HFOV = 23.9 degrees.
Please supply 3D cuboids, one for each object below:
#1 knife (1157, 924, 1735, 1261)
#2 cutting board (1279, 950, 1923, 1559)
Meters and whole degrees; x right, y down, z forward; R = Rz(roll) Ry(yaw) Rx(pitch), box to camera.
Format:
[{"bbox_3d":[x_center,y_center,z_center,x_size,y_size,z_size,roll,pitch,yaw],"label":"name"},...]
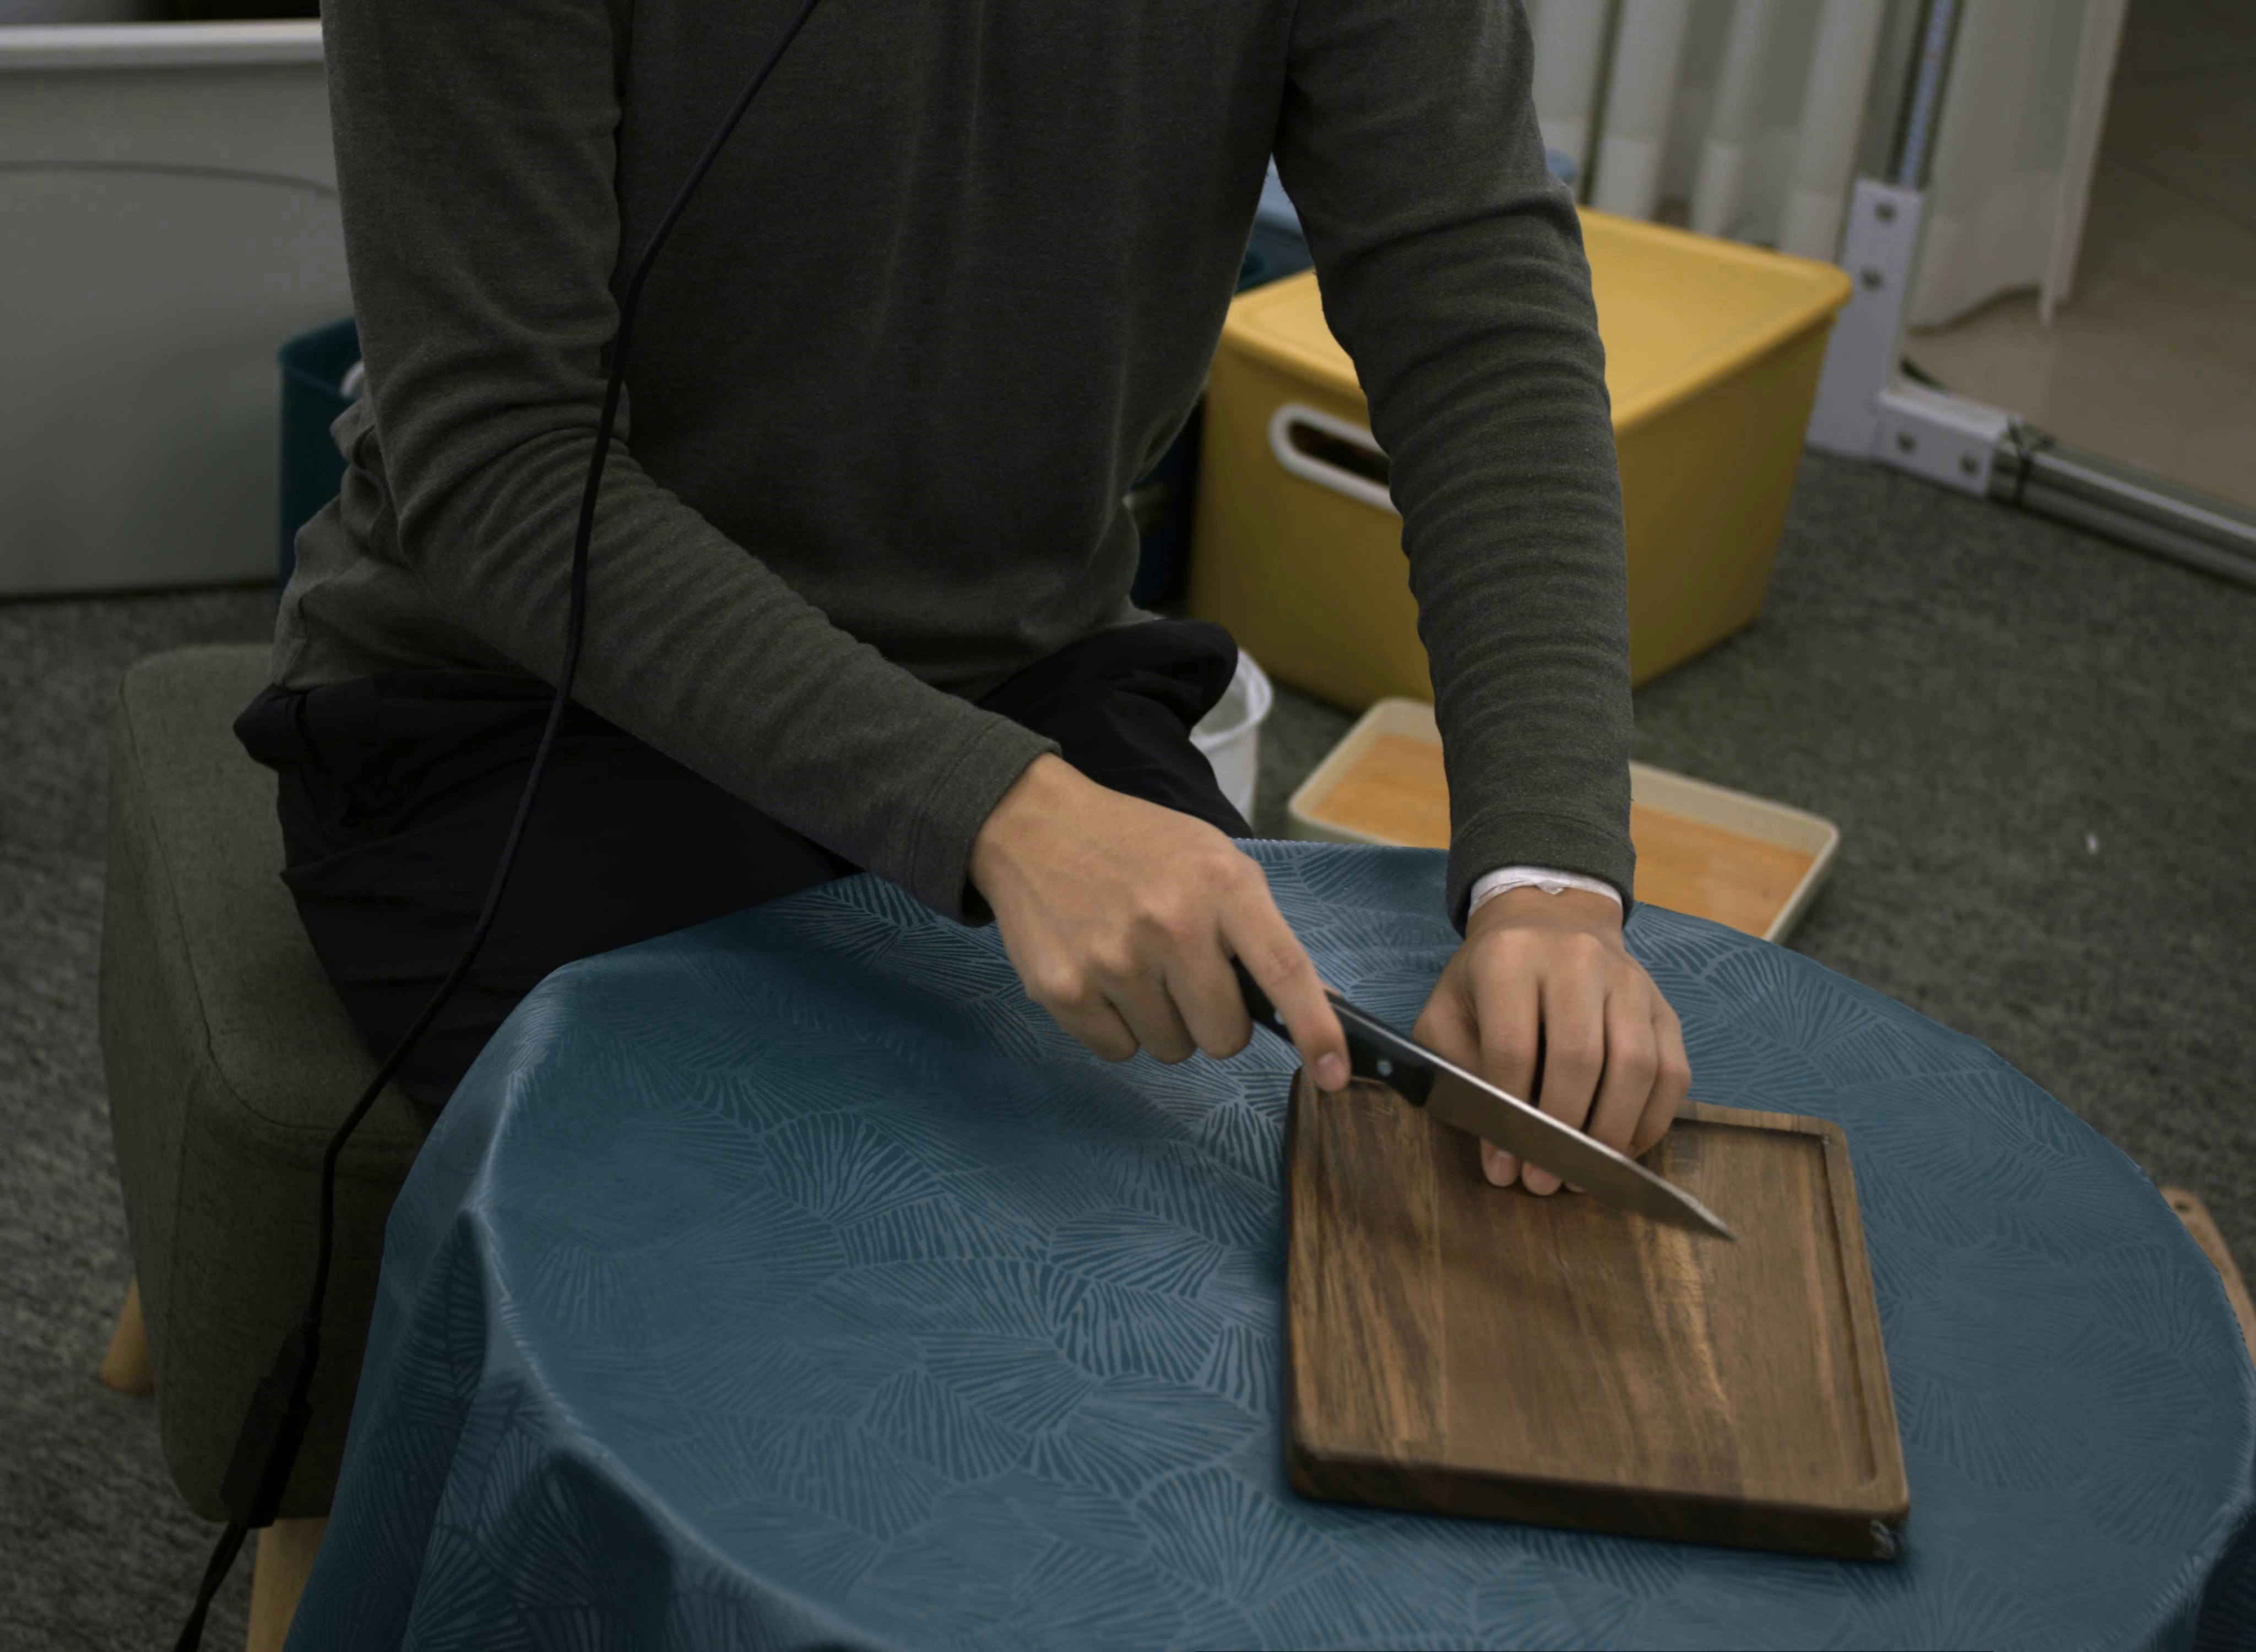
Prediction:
[{"bbox_3d":[0.105,0.088,1.775,0.240,0.024,0.016,28,41,29],"label":"knife"},{"bbox_3d":[0.151,0.133,1.799,0.200,0.023,0.354,6,26,-1],"label":"cutting board"}]
